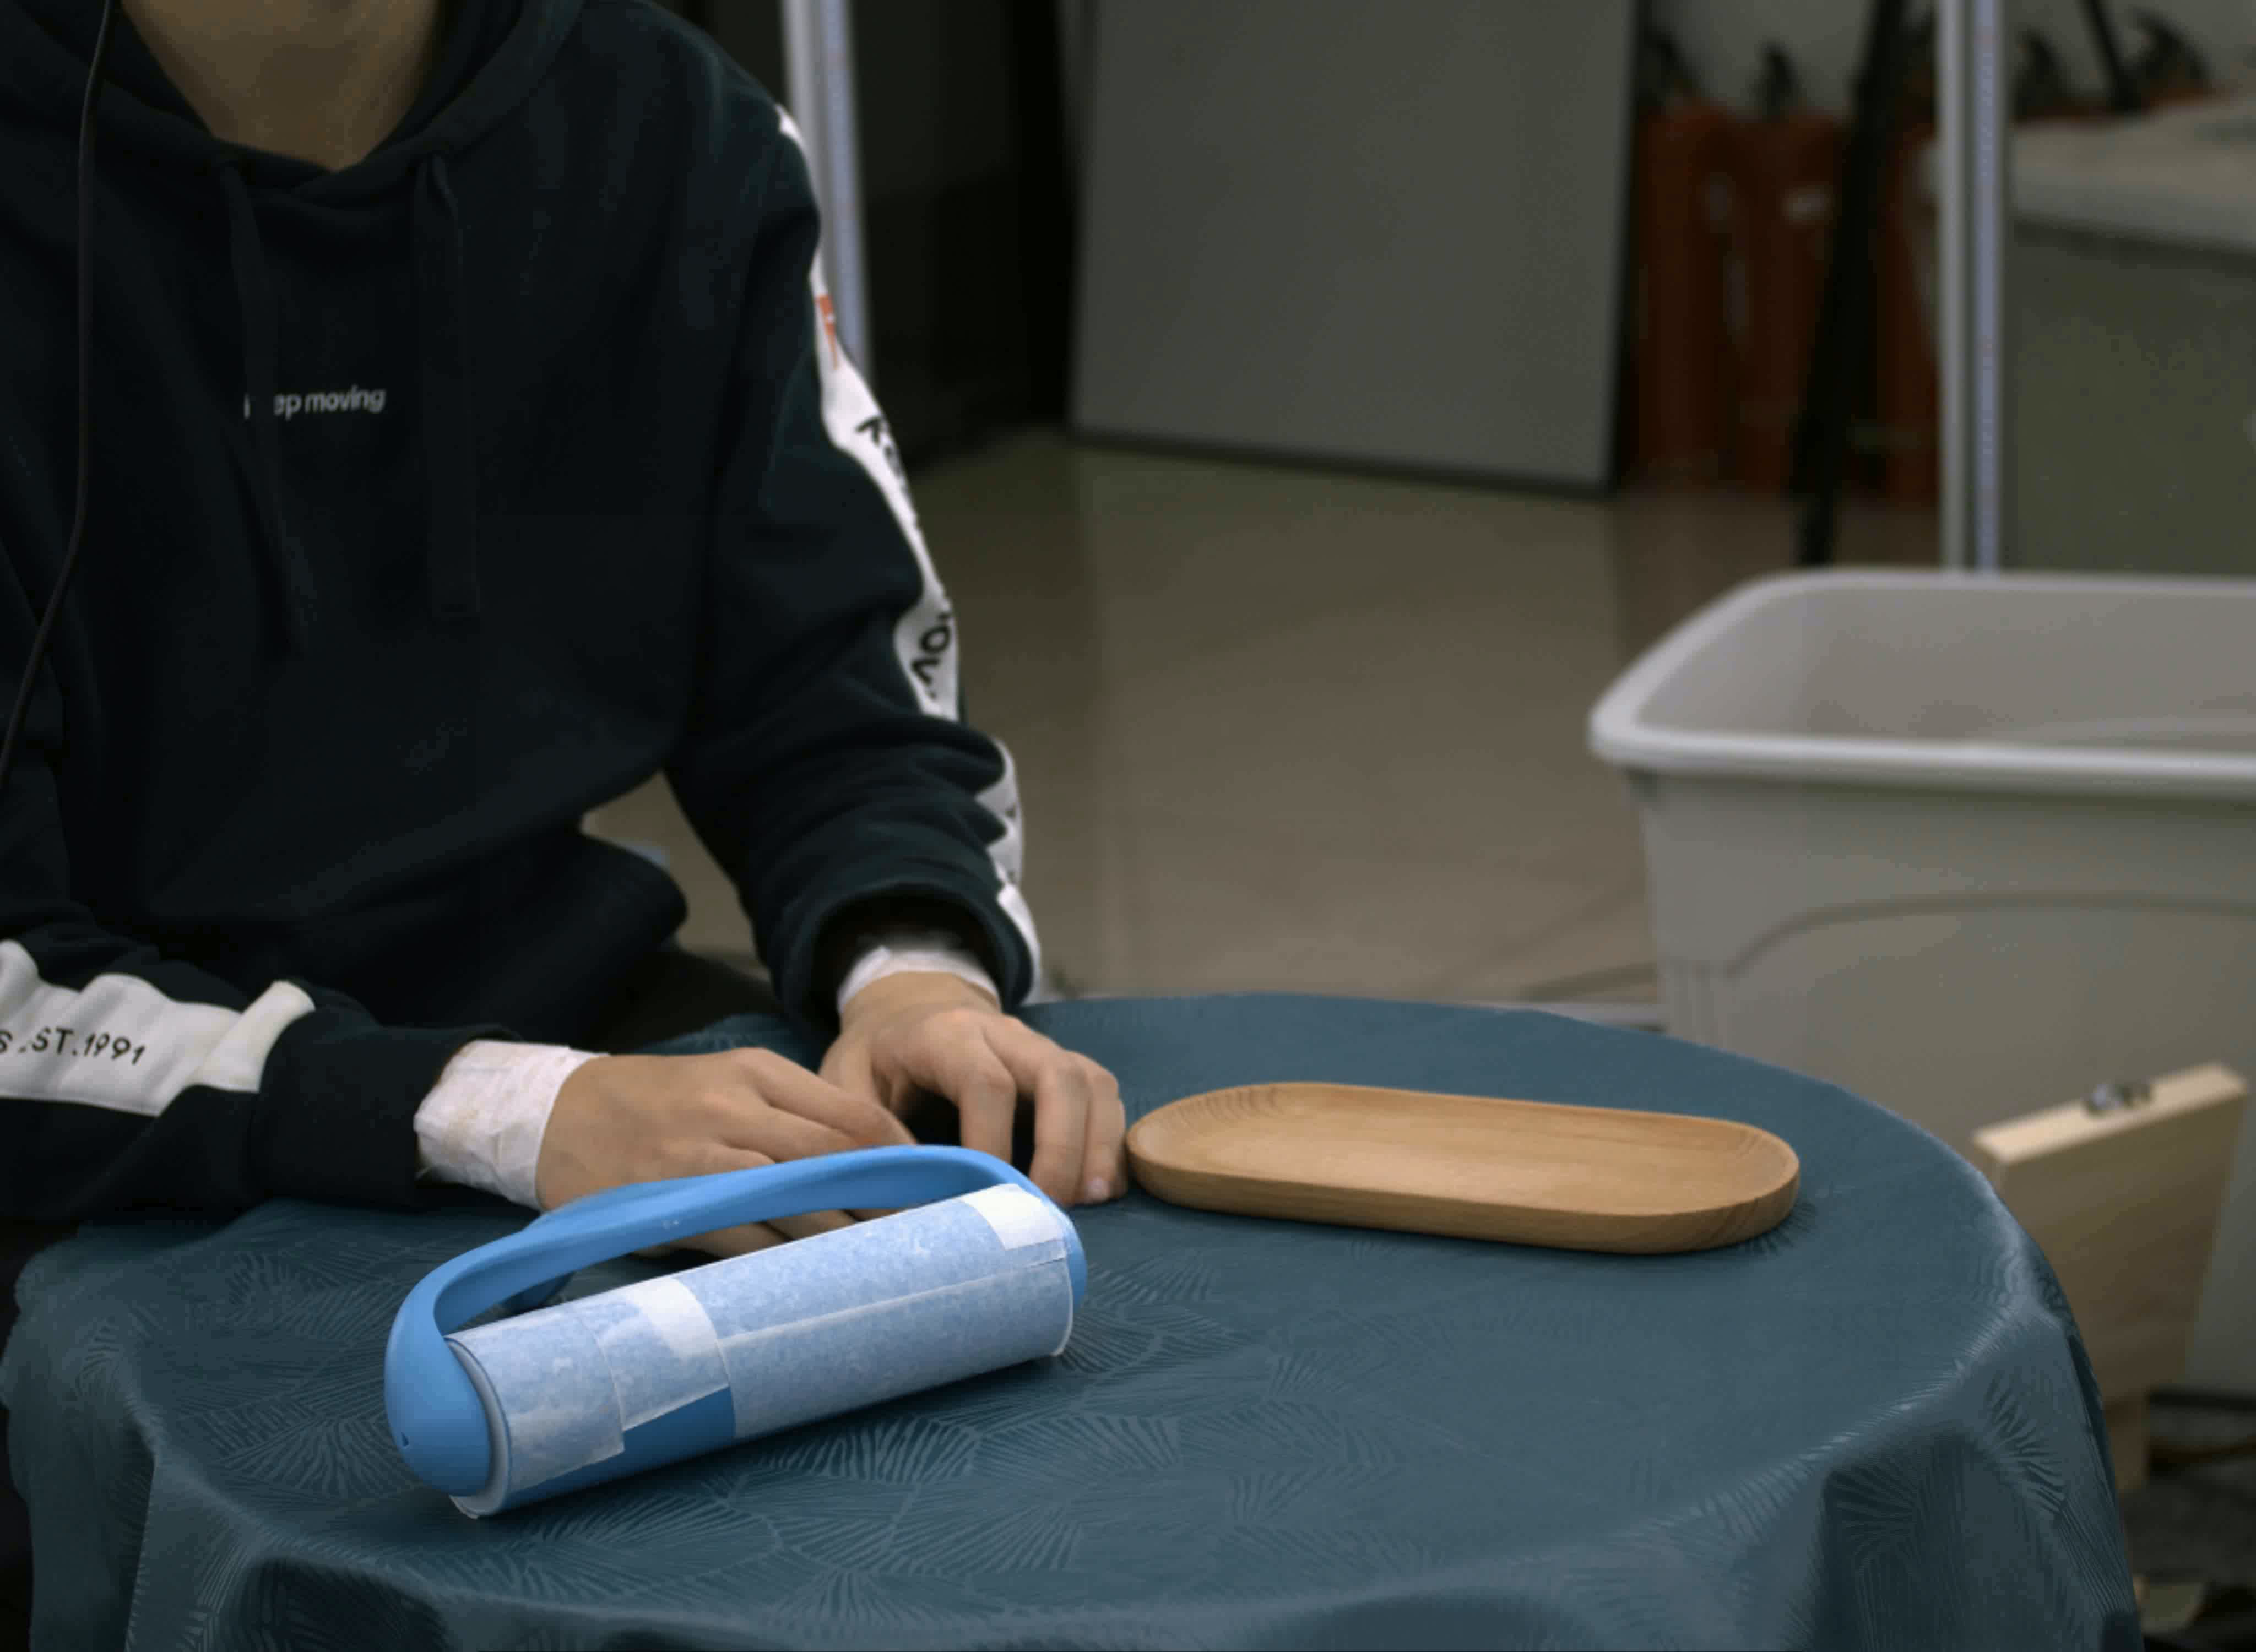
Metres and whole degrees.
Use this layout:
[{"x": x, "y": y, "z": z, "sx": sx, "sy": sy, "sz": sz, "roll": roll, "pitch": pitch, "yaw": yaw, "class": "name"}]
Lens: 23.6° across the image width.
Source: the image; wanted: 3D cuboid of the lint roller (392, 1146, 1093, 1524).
[{"x": -0.142, "y": 0.140, "z": 1.615, "sx": 0.224, "sy": 0.068, "sz": 0.182, "roll": -16, "pitch": 19, "yaw": -33, "class": "lint roller"}]

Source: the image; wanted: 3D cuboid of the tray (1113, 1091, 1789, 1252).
[{"x": 0.103, "y": 0.112, "z": 1.746, "sx": 0.232, "sy": 0.020, "sz": 0.100, "roll": 1, "pitch": 14, "yaw": 28, "class": "tray"}]
